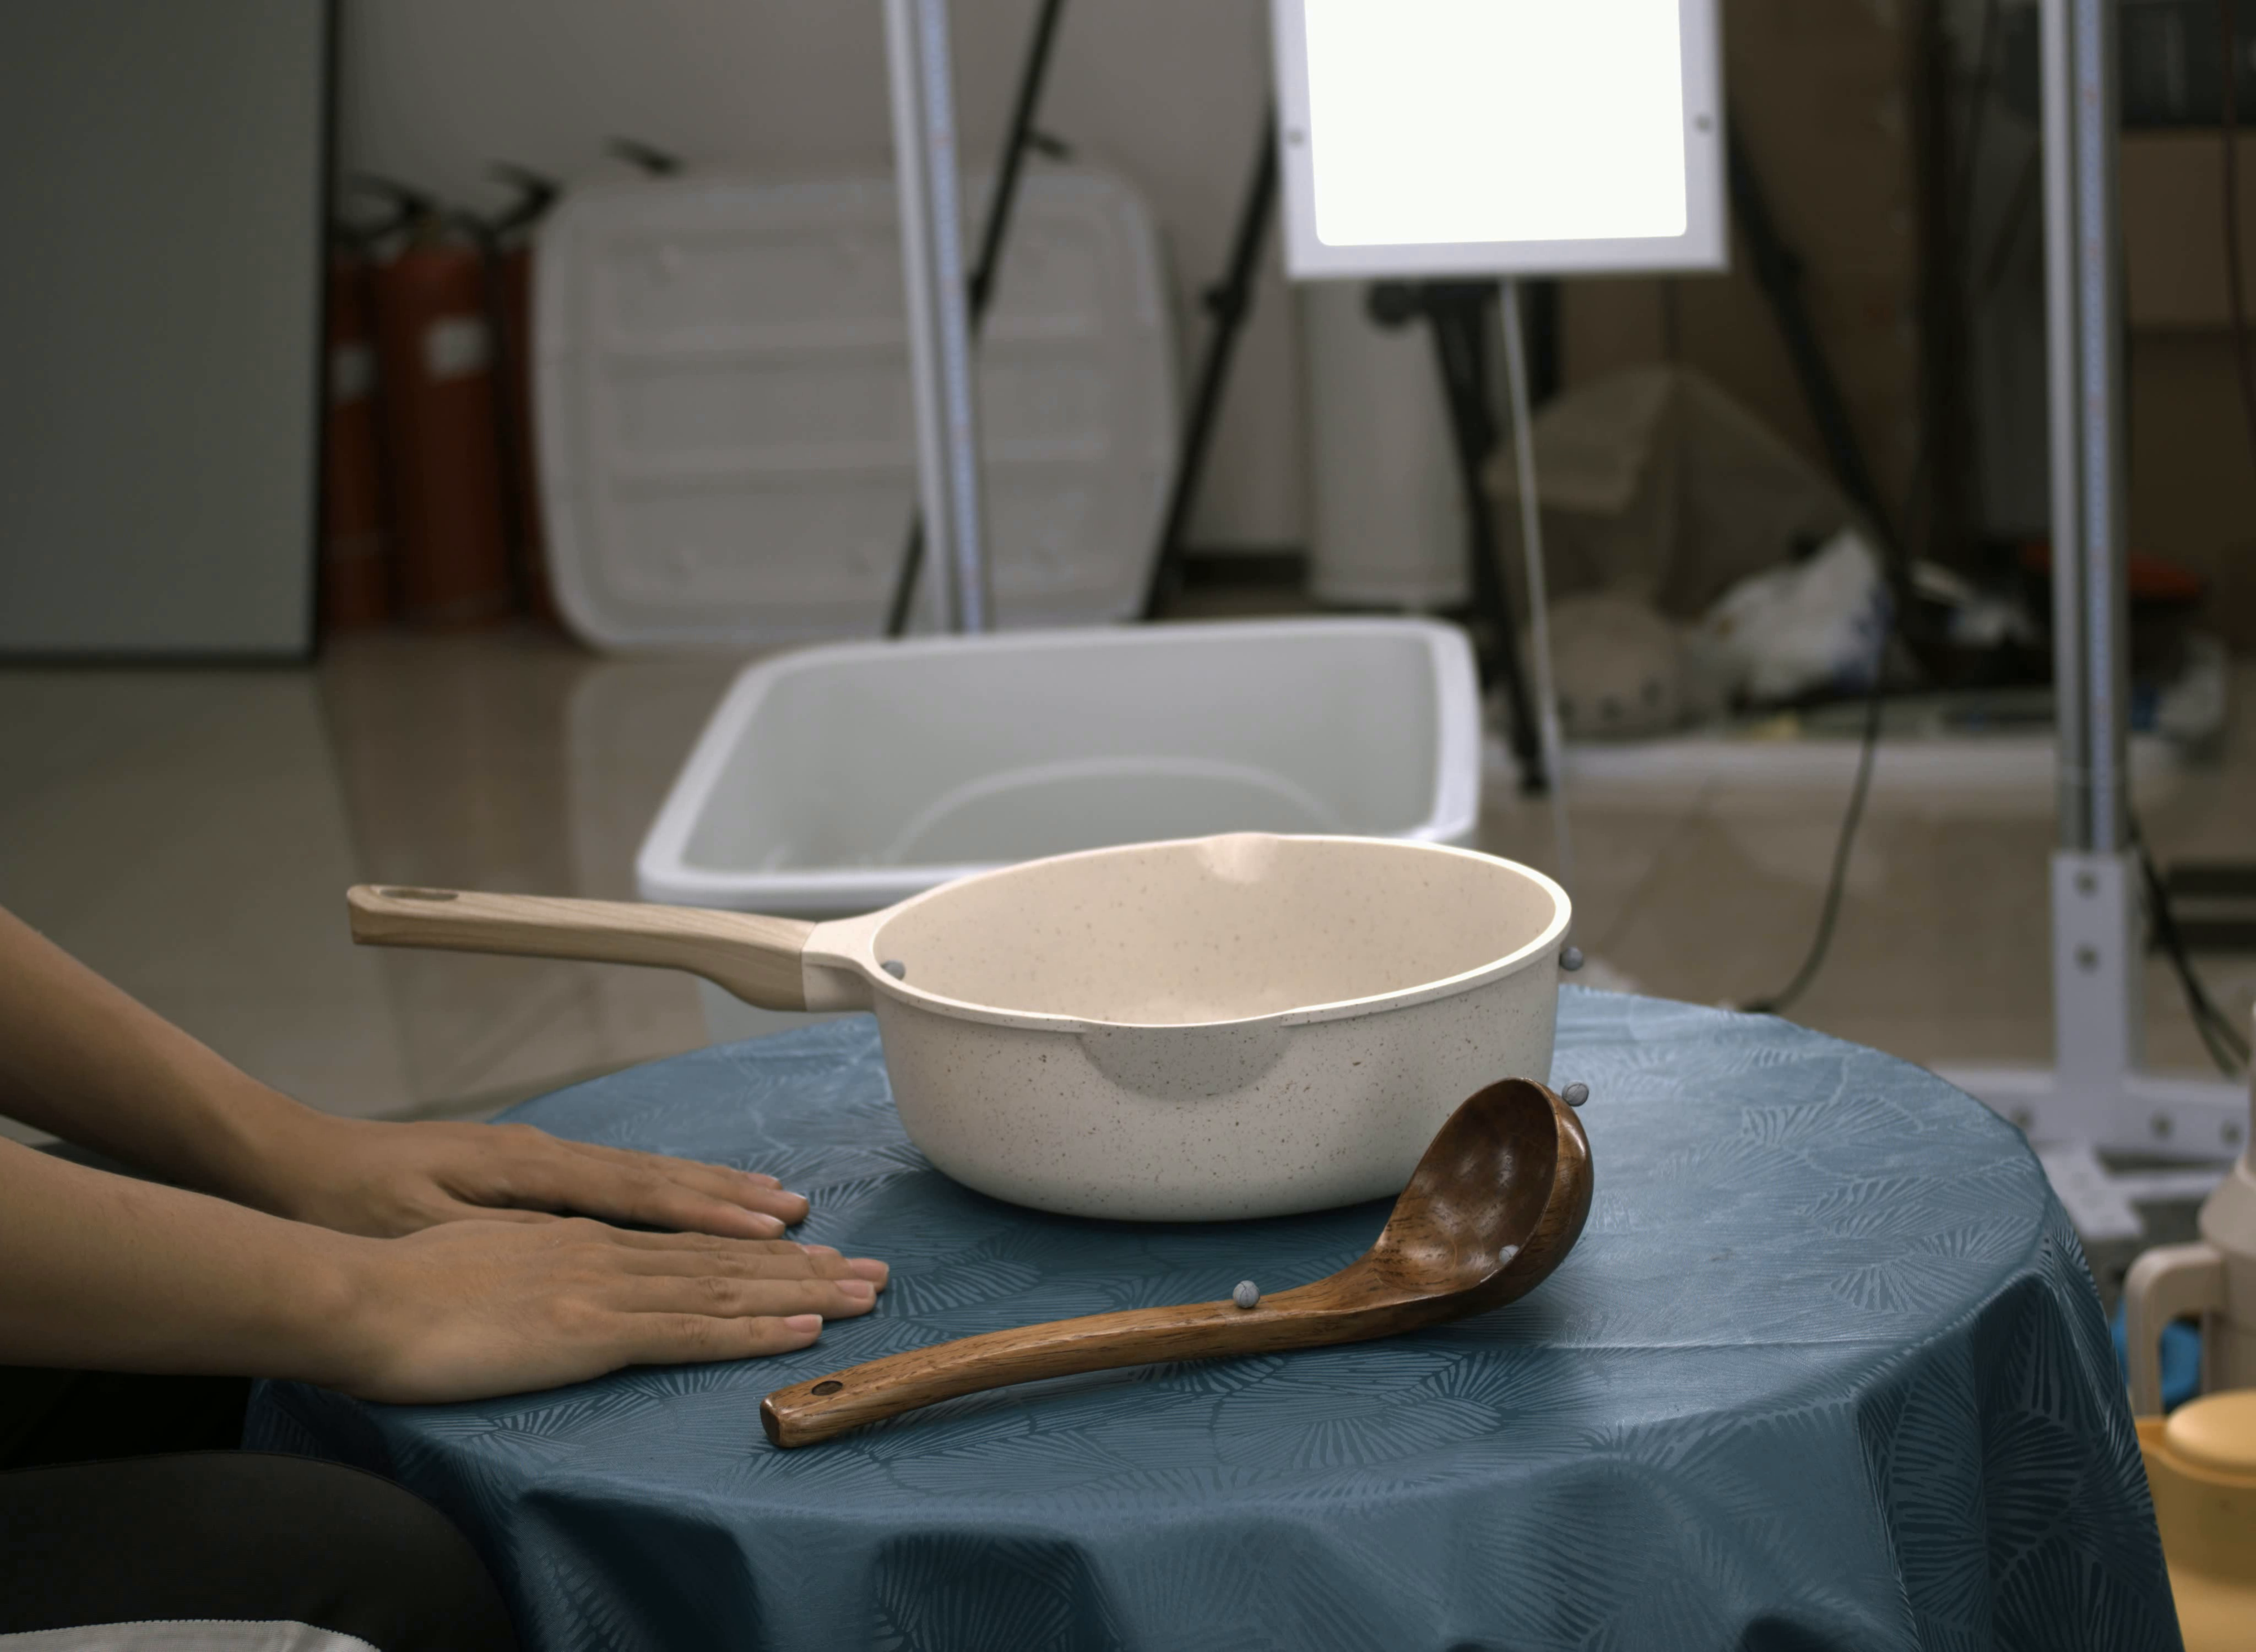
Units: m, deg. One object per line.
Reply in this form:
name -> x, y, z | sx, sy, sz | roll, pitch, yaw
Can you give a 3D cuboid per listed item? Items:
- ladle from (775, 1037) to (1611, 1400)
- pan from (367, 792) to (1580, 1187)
ladle -> 0.022, 0.121, 1.717 | 0.270, 0.077, 0.083 | -8, 15, -14
pan -> -0.054, 0.057, 1.967 | 0.437, 0.102, 0.261 | -3, 15, 8
